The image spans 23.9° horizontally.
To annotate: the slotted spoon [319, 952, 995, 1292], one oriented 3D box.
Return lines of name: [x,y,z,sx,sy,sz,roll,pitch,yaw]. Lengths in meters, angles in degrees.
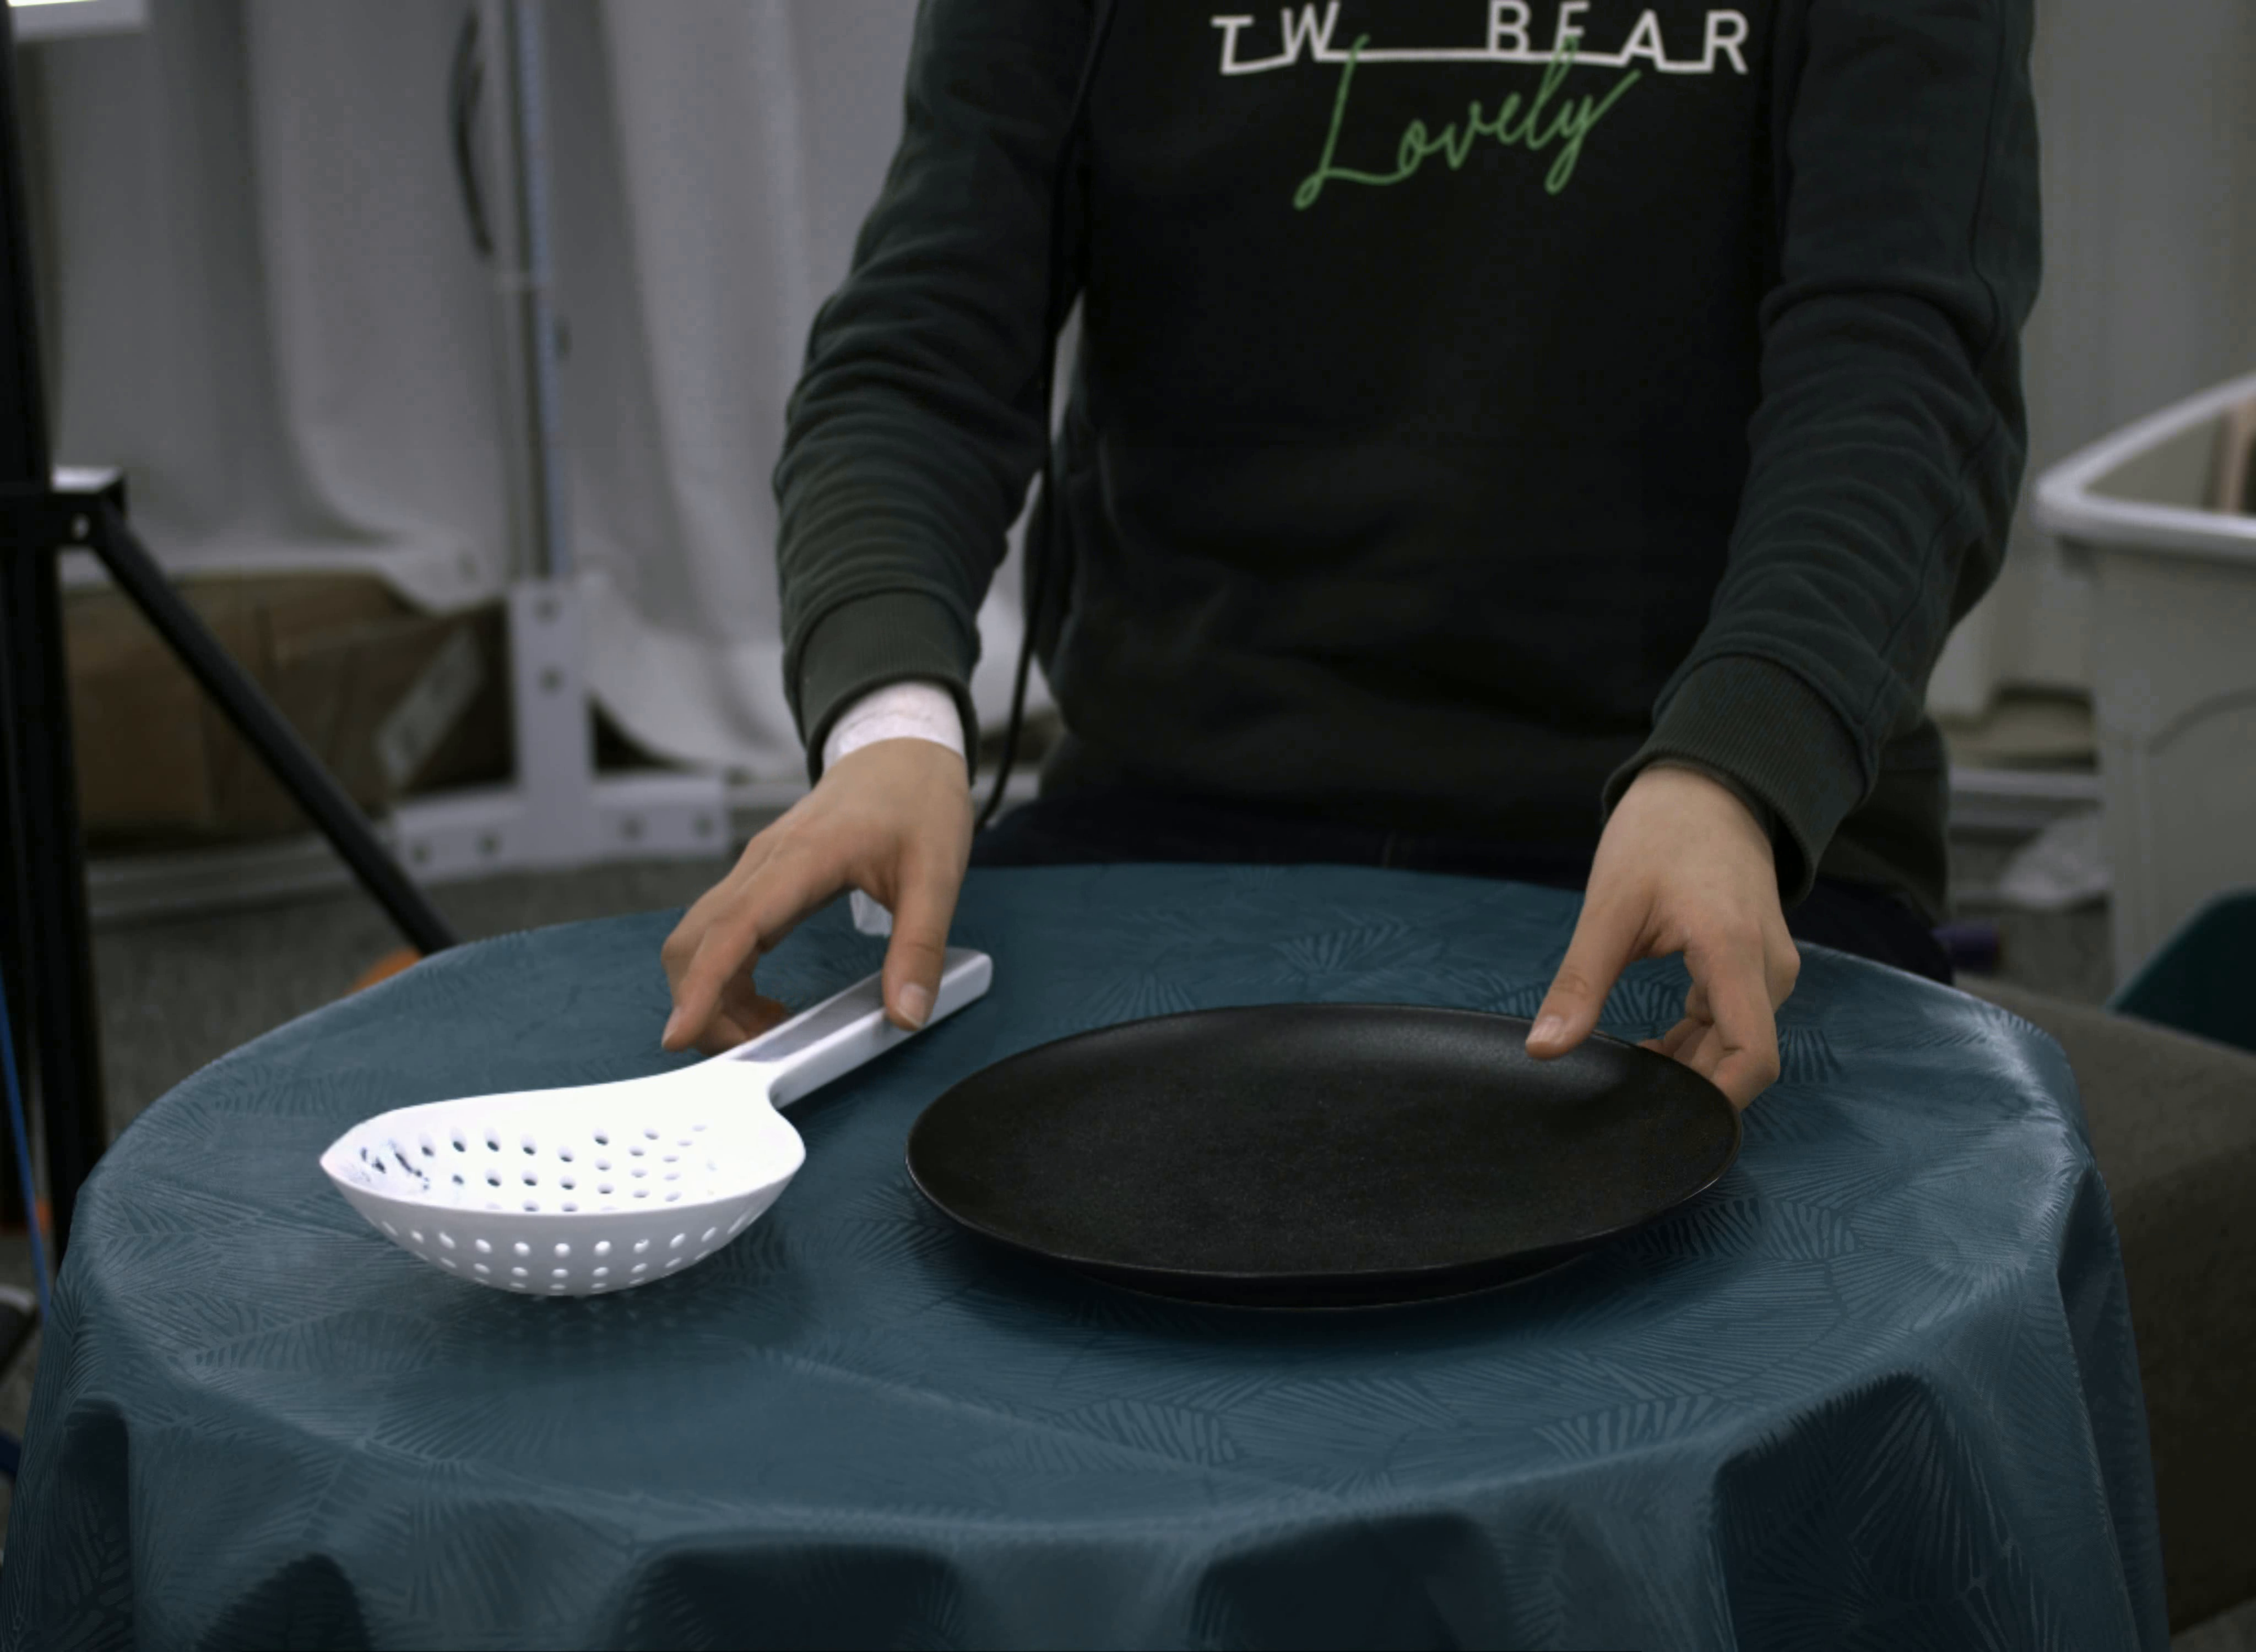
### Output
slotted spoon: [-0.120,0.079,1.597,0.138,0.046,0.345,6,17,21]

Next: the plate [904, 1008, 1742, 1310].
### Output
plate: [0.057,0.099,1.539,0.243,0.023,0.245,-3,15,-1]
